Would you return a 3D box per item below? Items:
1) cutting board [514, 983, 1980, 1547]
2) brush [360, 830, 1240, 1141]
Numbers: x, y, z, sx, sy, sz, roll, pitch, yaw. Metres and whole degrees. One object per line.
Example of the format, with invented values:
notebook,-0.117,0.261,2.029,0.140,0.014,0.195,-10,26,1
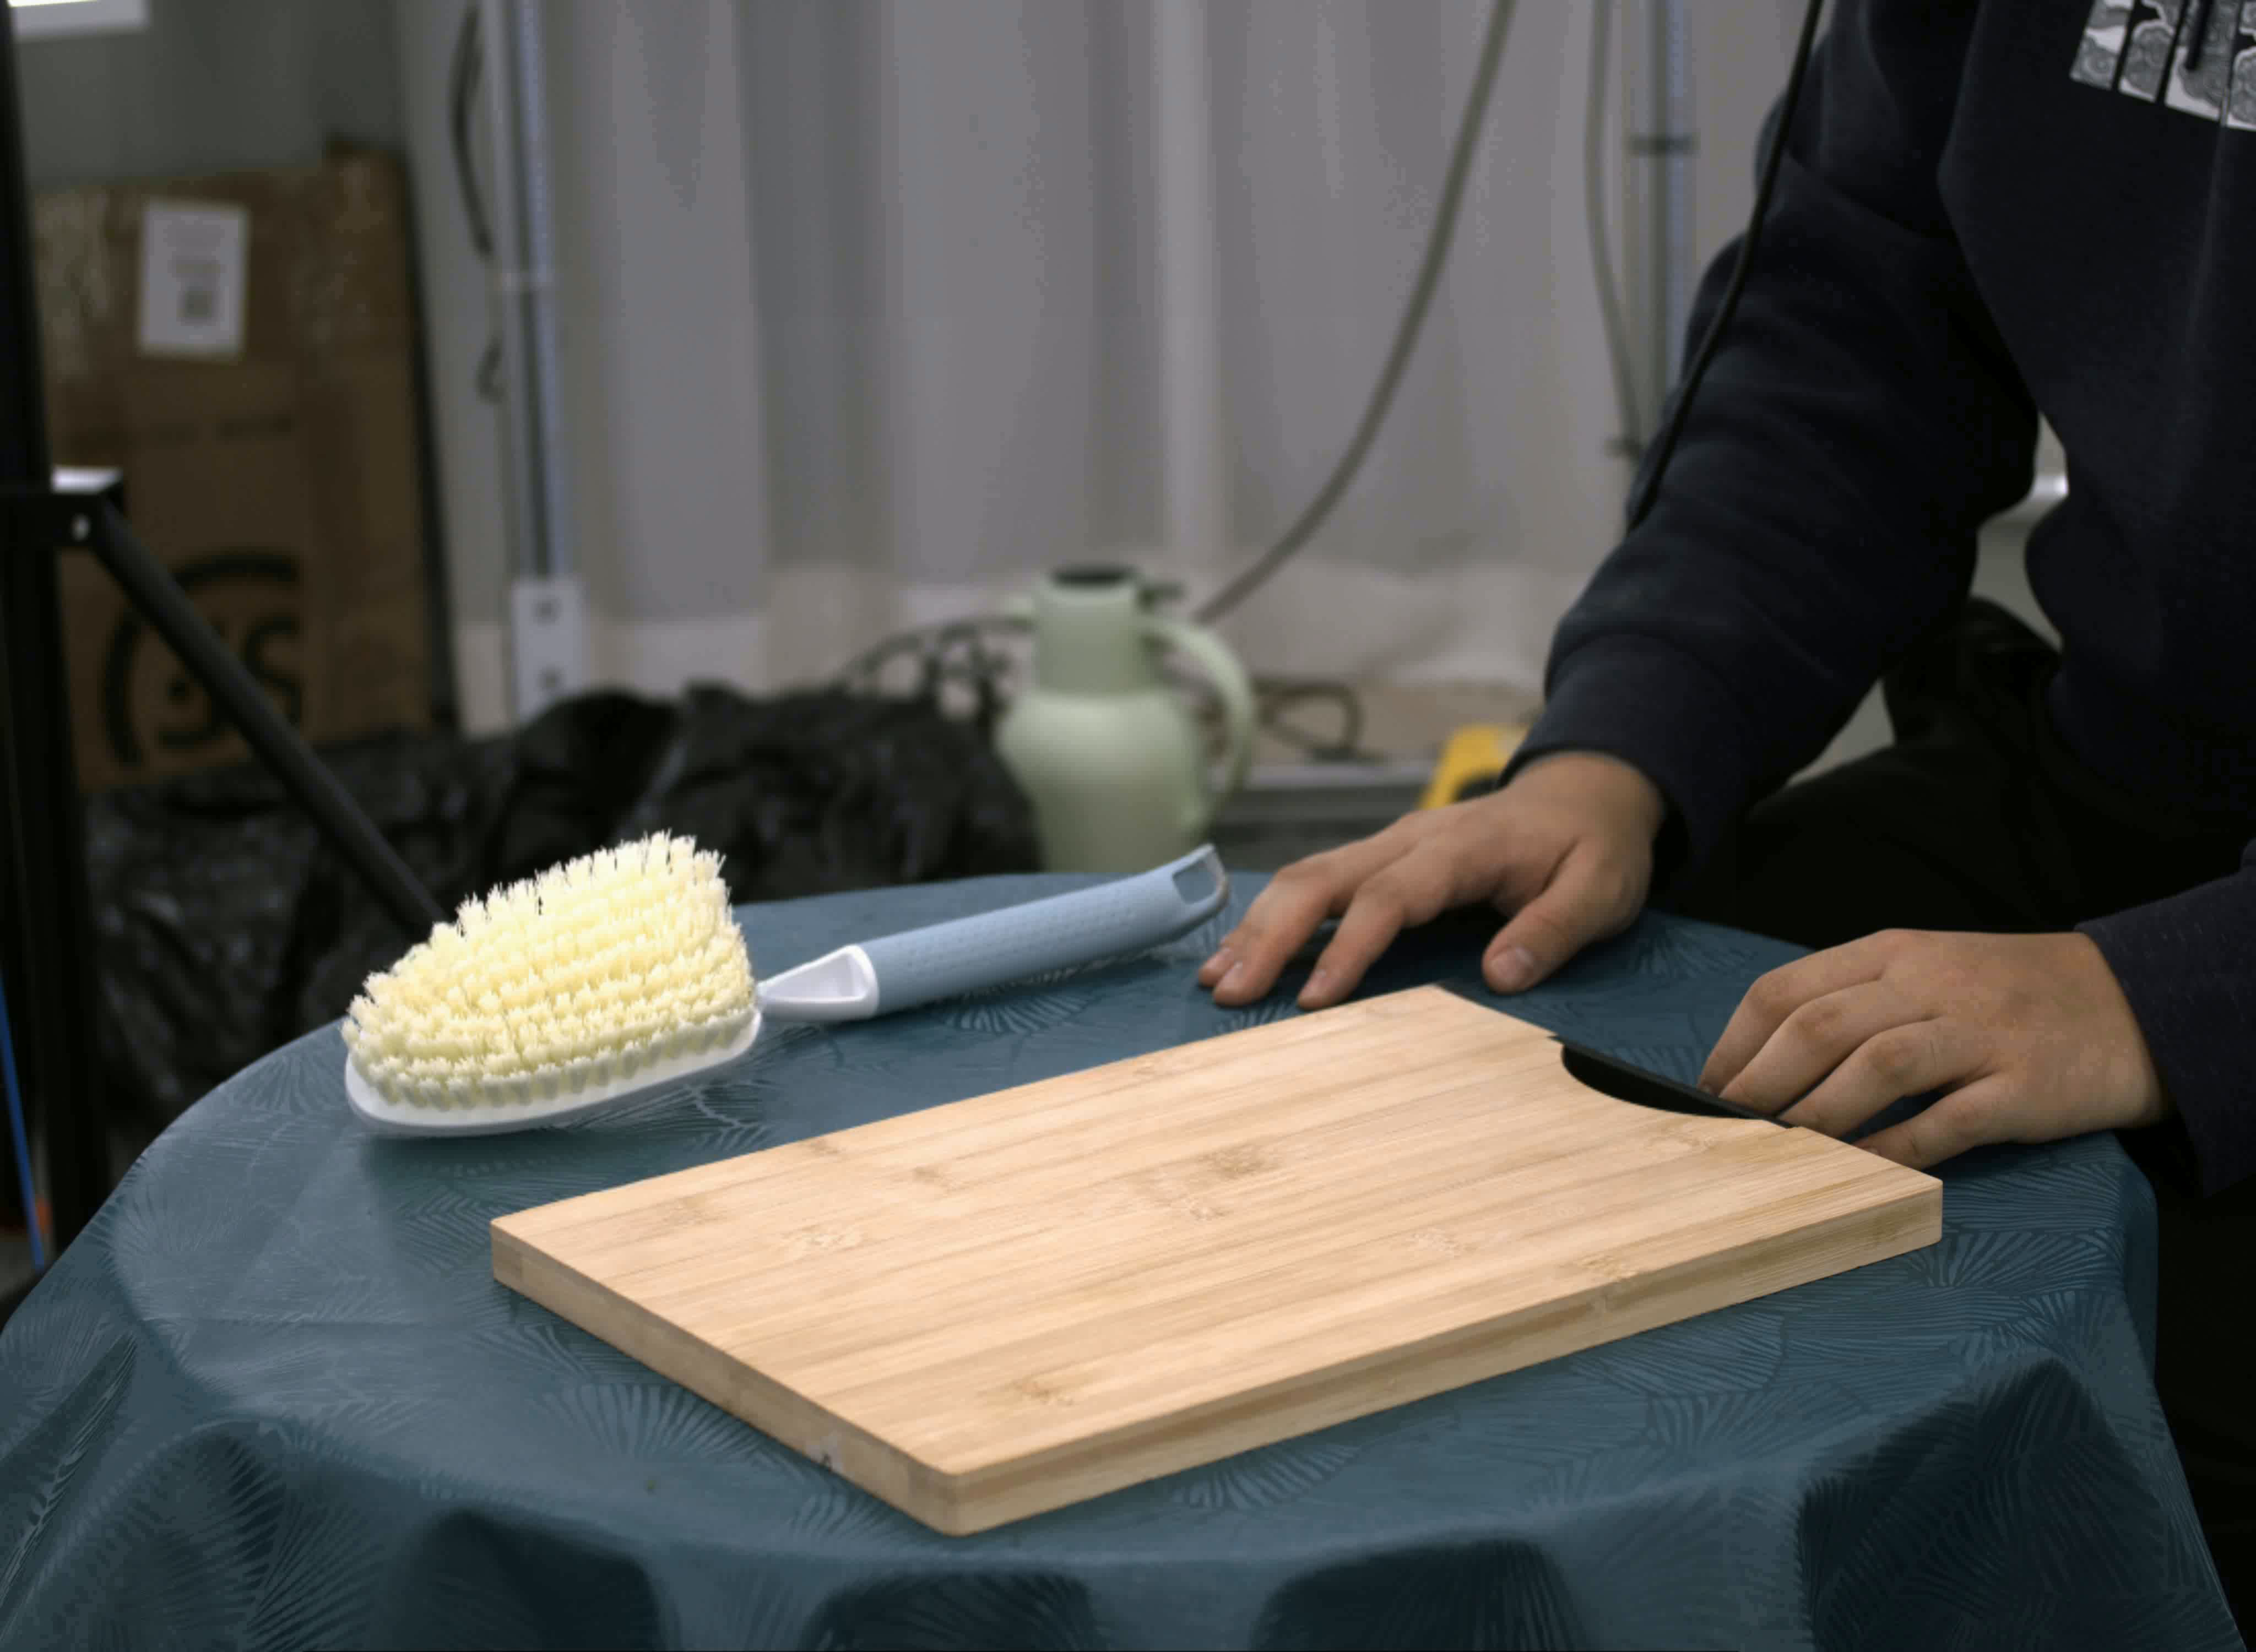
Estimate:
cutting board,0.031,0.114,1.500,0.341,0.023,0.256,-13,19,-33
brush,-0.092,0.032,1.688,0.318,0.083,0.086,-13,10,-29
